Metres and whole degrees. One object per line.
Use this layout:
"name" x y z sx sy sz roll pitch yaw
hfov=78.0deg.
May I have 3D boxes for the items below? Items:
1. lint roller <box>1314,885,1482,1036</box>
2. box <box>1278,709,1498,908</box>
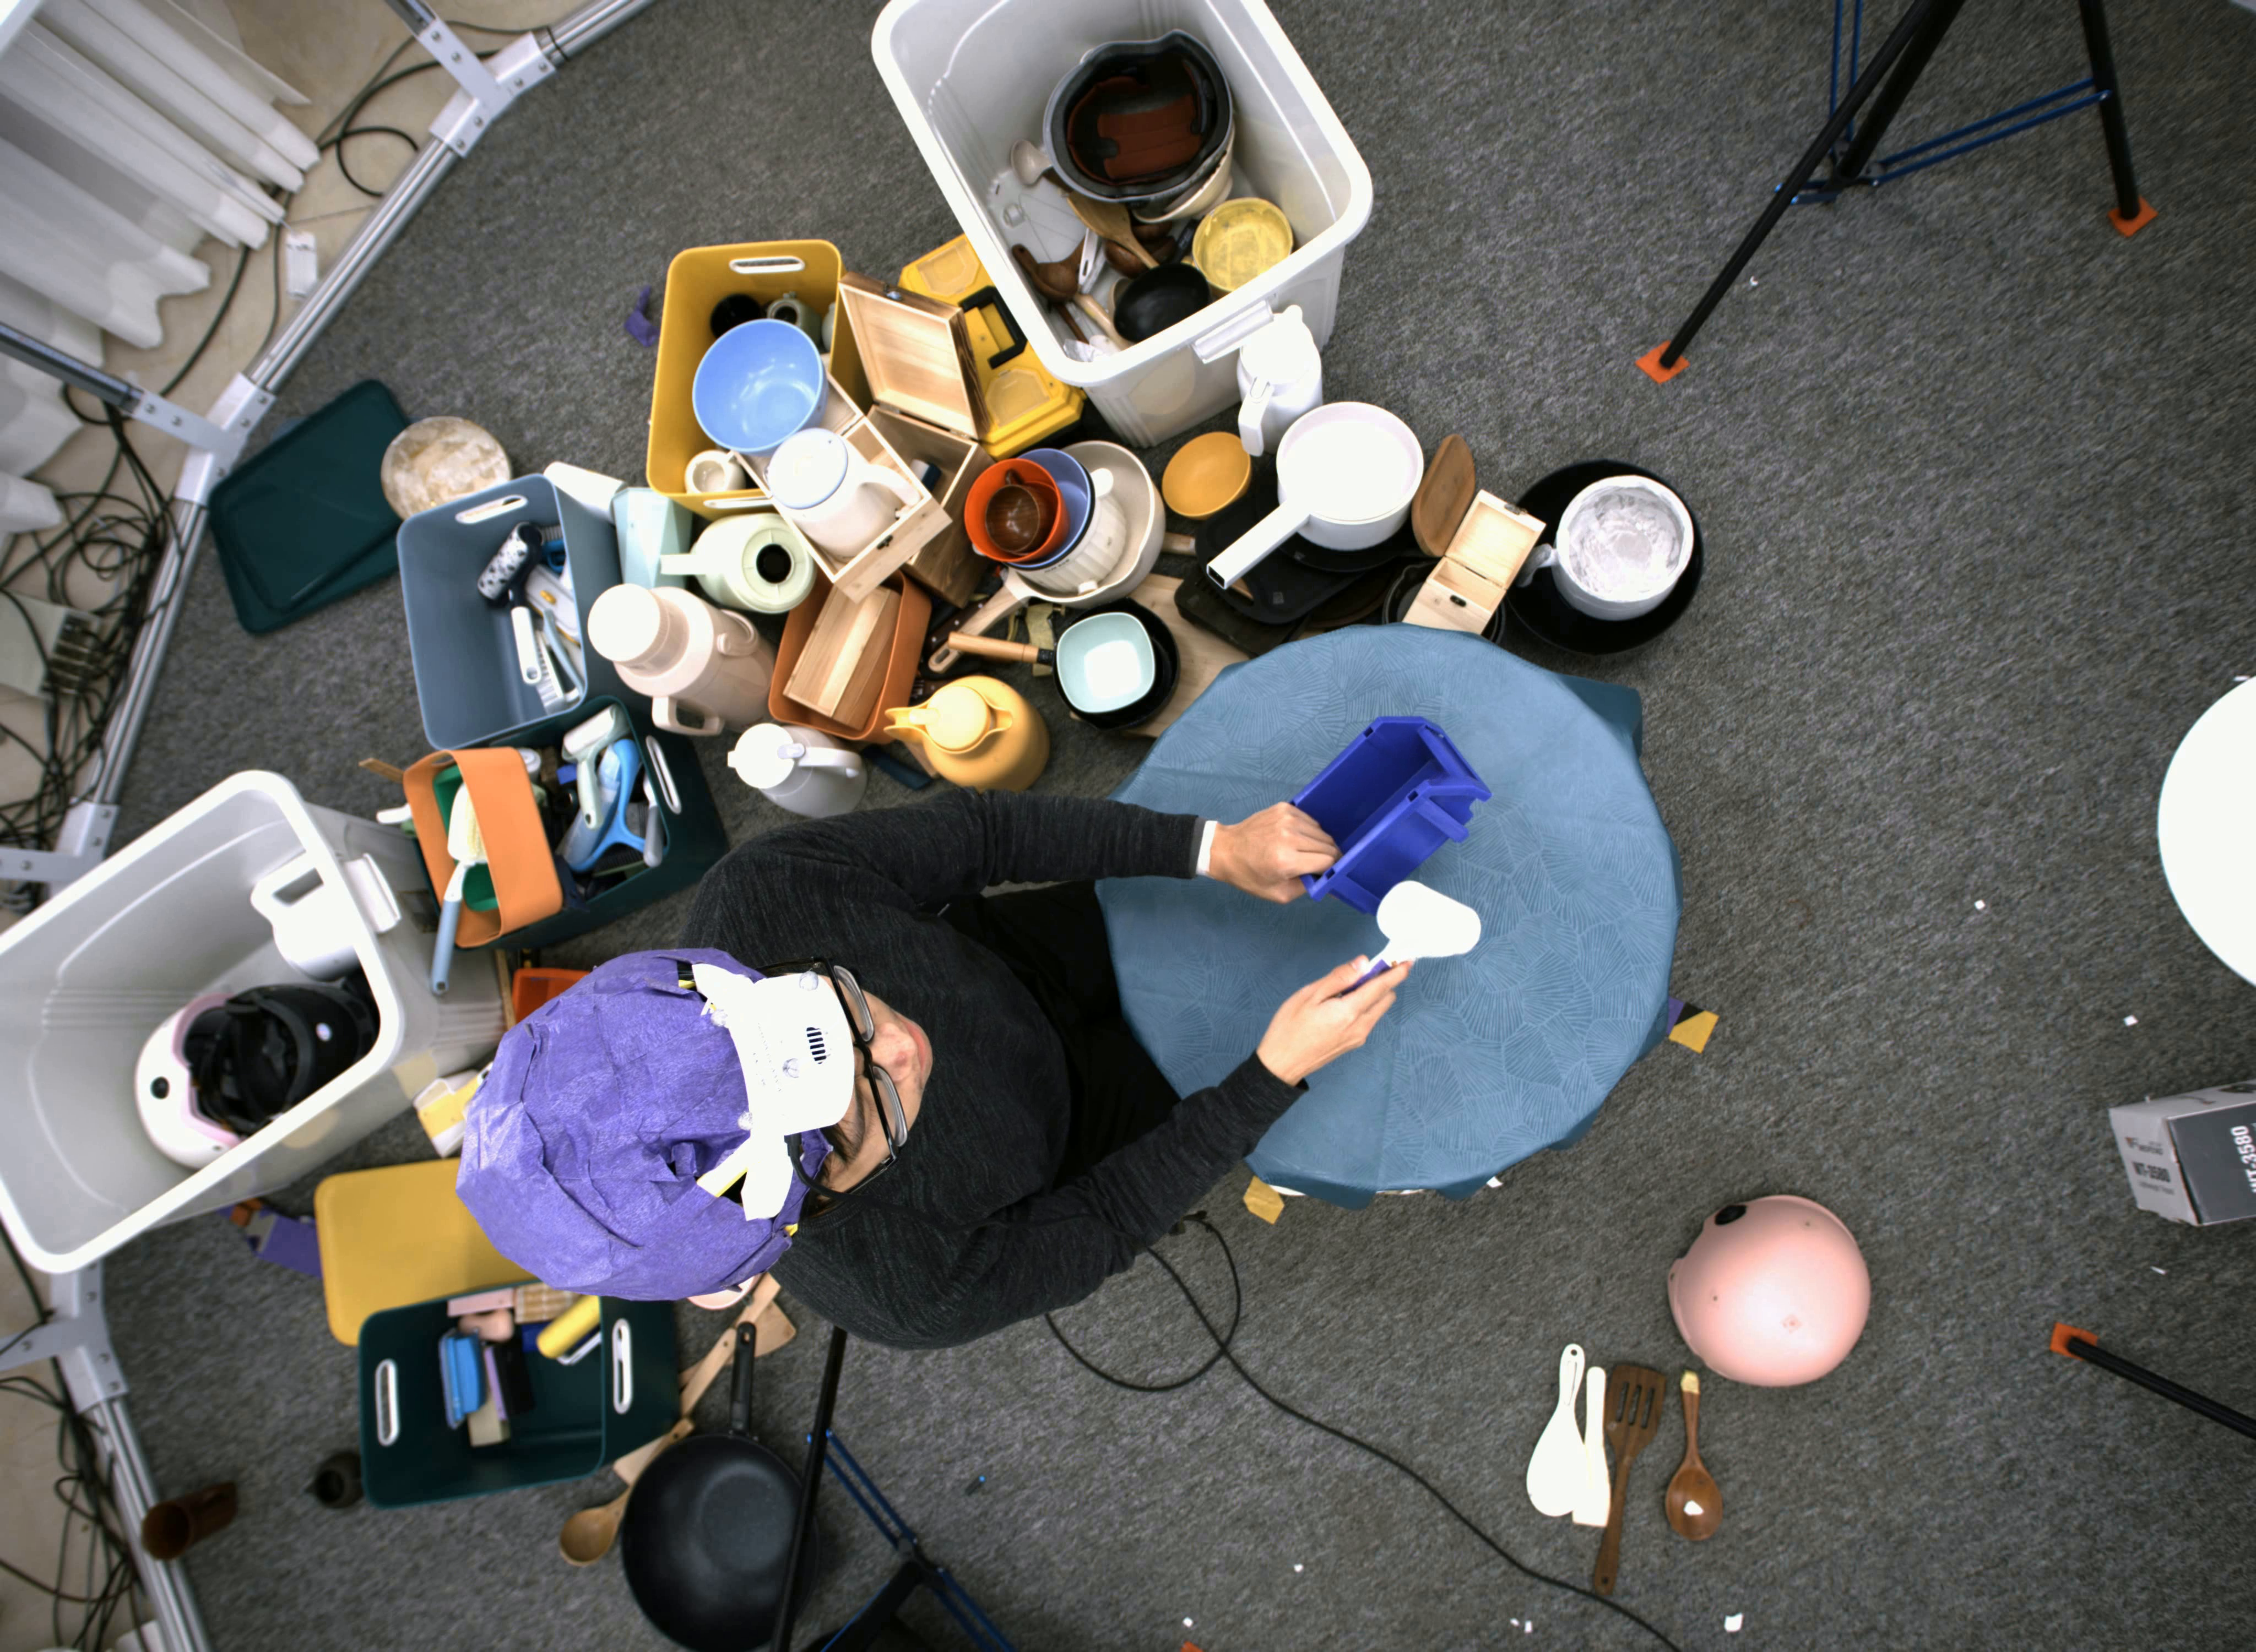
"lint roller" 0.239 0.135 1.267 0.183 0.133 0.049 -52 51 14
"box" 0.247 -0.022 1.310 0.182 0.082 0.122 -47 36 21
